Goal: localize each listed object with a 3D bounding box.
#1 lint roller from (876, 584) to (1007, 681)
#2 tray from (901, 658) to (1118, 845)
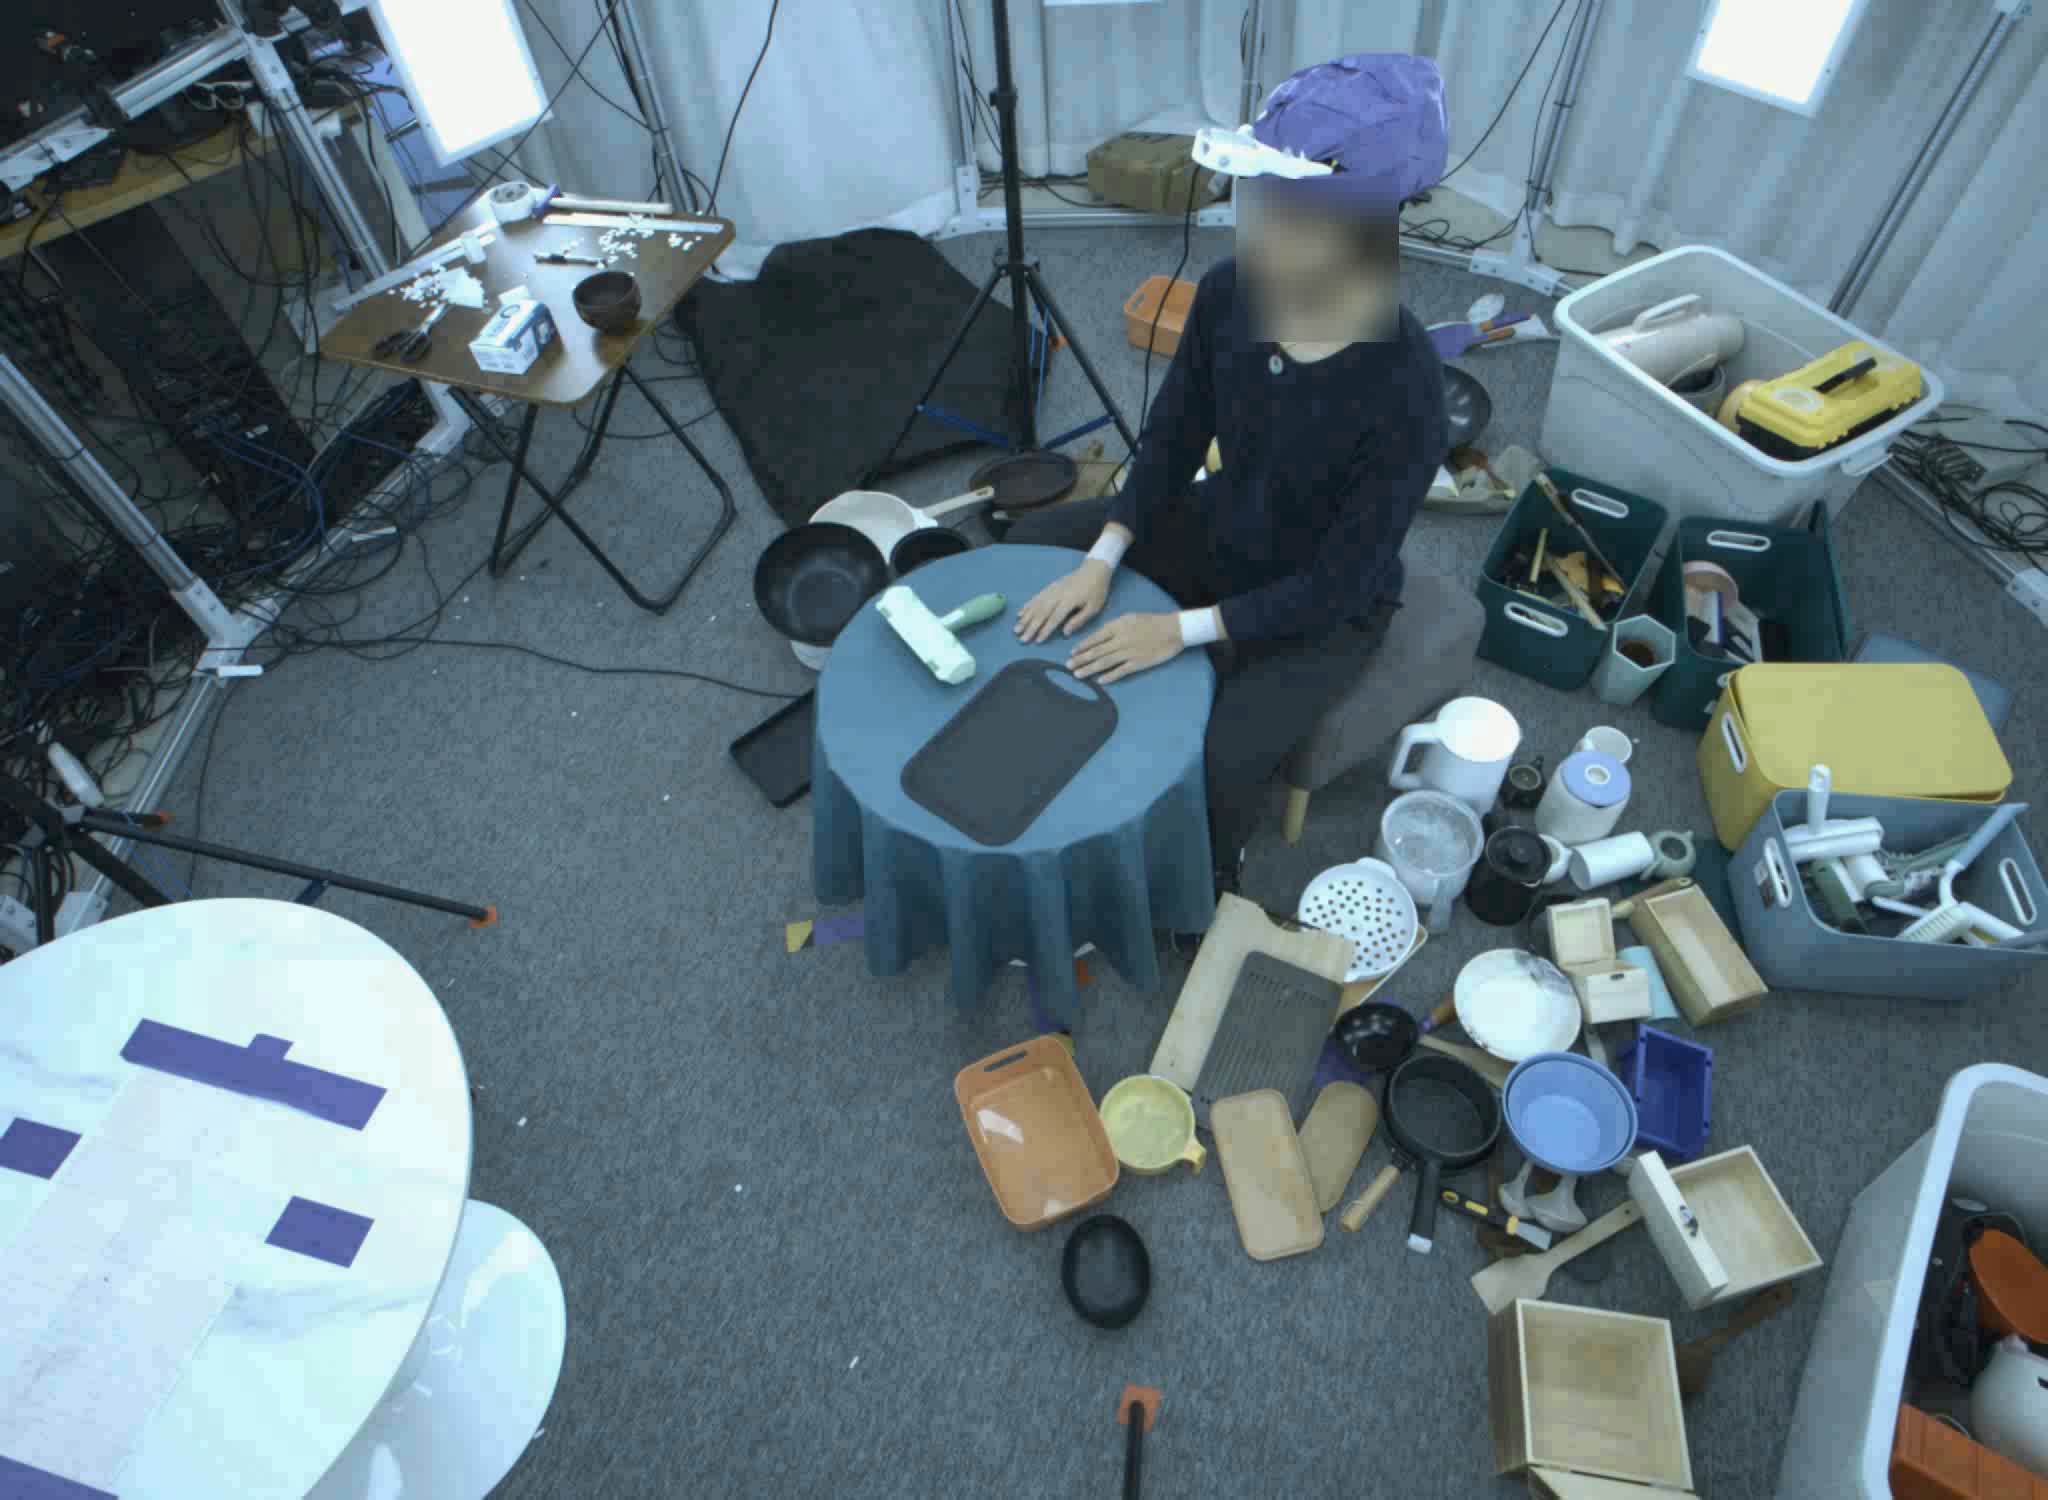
[{"bbox_3d":[-0.106,-0.216,1.891,0.184,0.083,0.195,-36,62,-13],"label":"lint roller"},{"bbox_3d":[-0.015,-0.012,1.792,0.207,0.010,0.327,32,62,22],"label":"tray"}]
